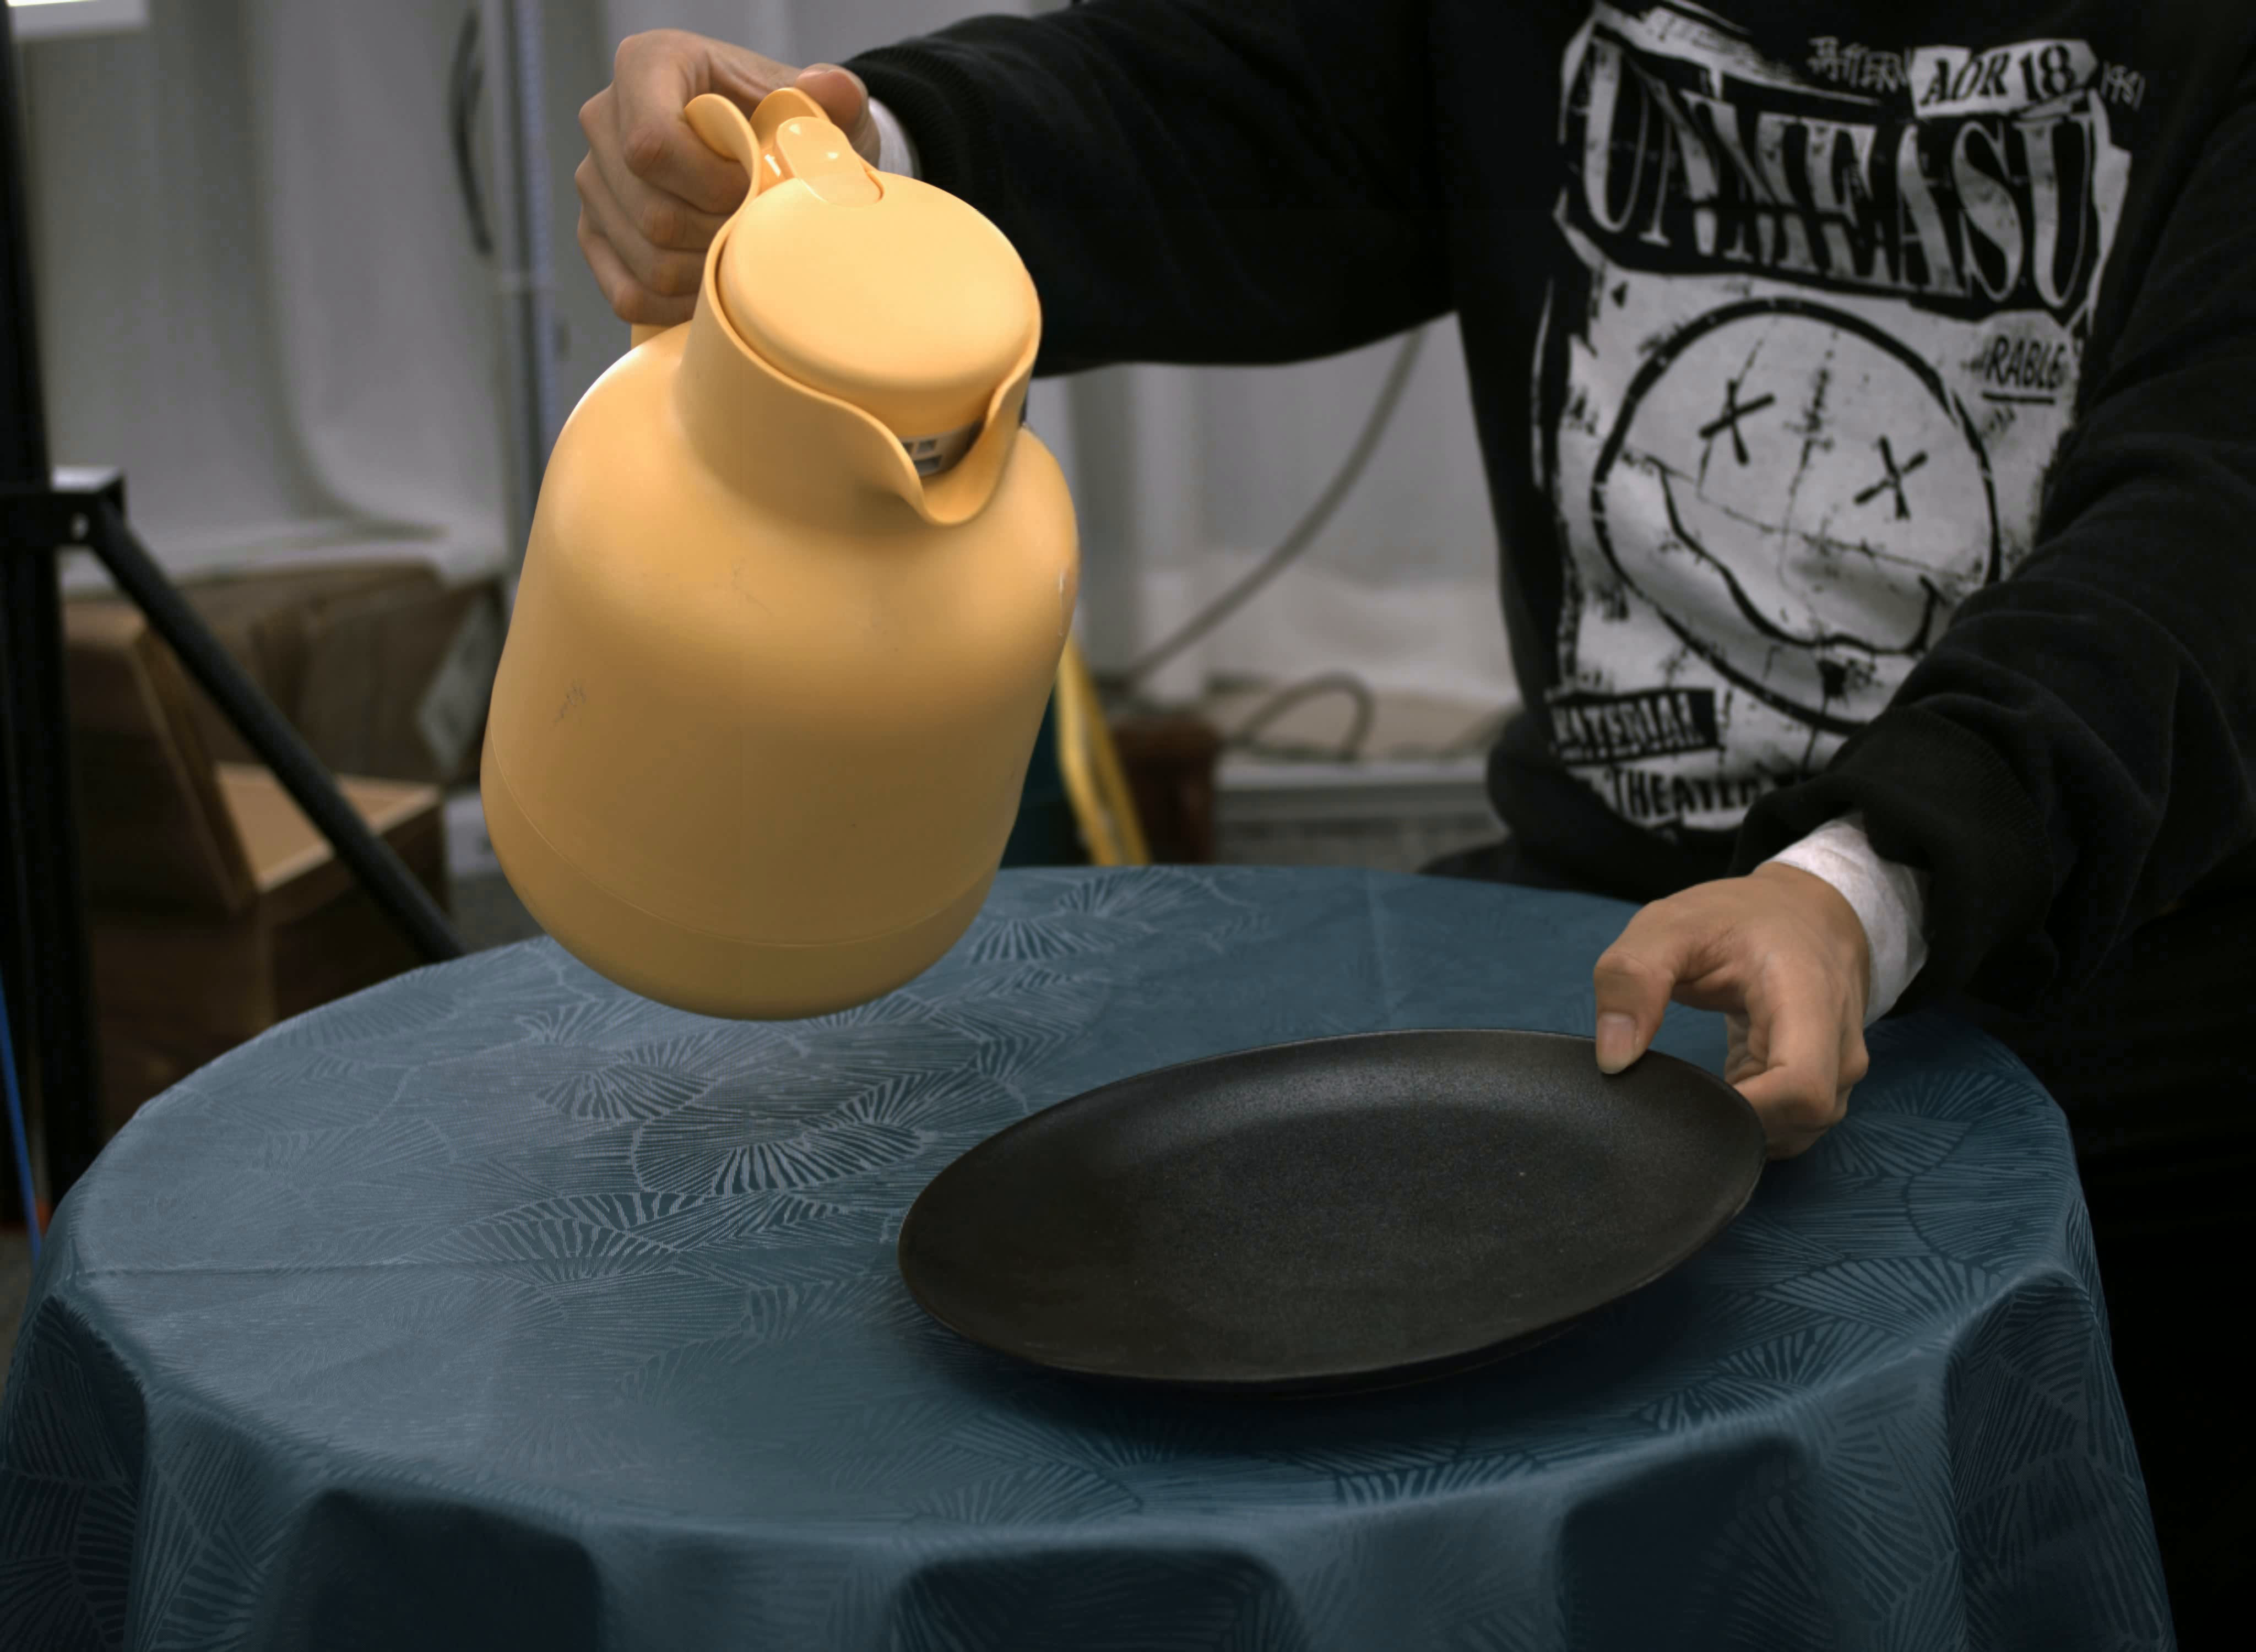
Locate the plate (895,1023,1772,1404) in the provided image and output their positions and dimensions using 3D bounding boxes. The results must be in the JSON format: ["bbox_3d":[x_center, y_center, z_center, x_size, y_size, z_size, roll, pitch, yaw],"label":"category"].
[{"bbox_3d":[0.057,0.110,1.460,0.243,0.023,0.246,-8,19,1],"label":"plate"}]

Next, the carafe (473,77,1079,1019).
[{"bbox_3d":[-0.102,-0.089,1.581,0.160,0.261,0.206,-4,50,-23],"label":"carafe"}]
